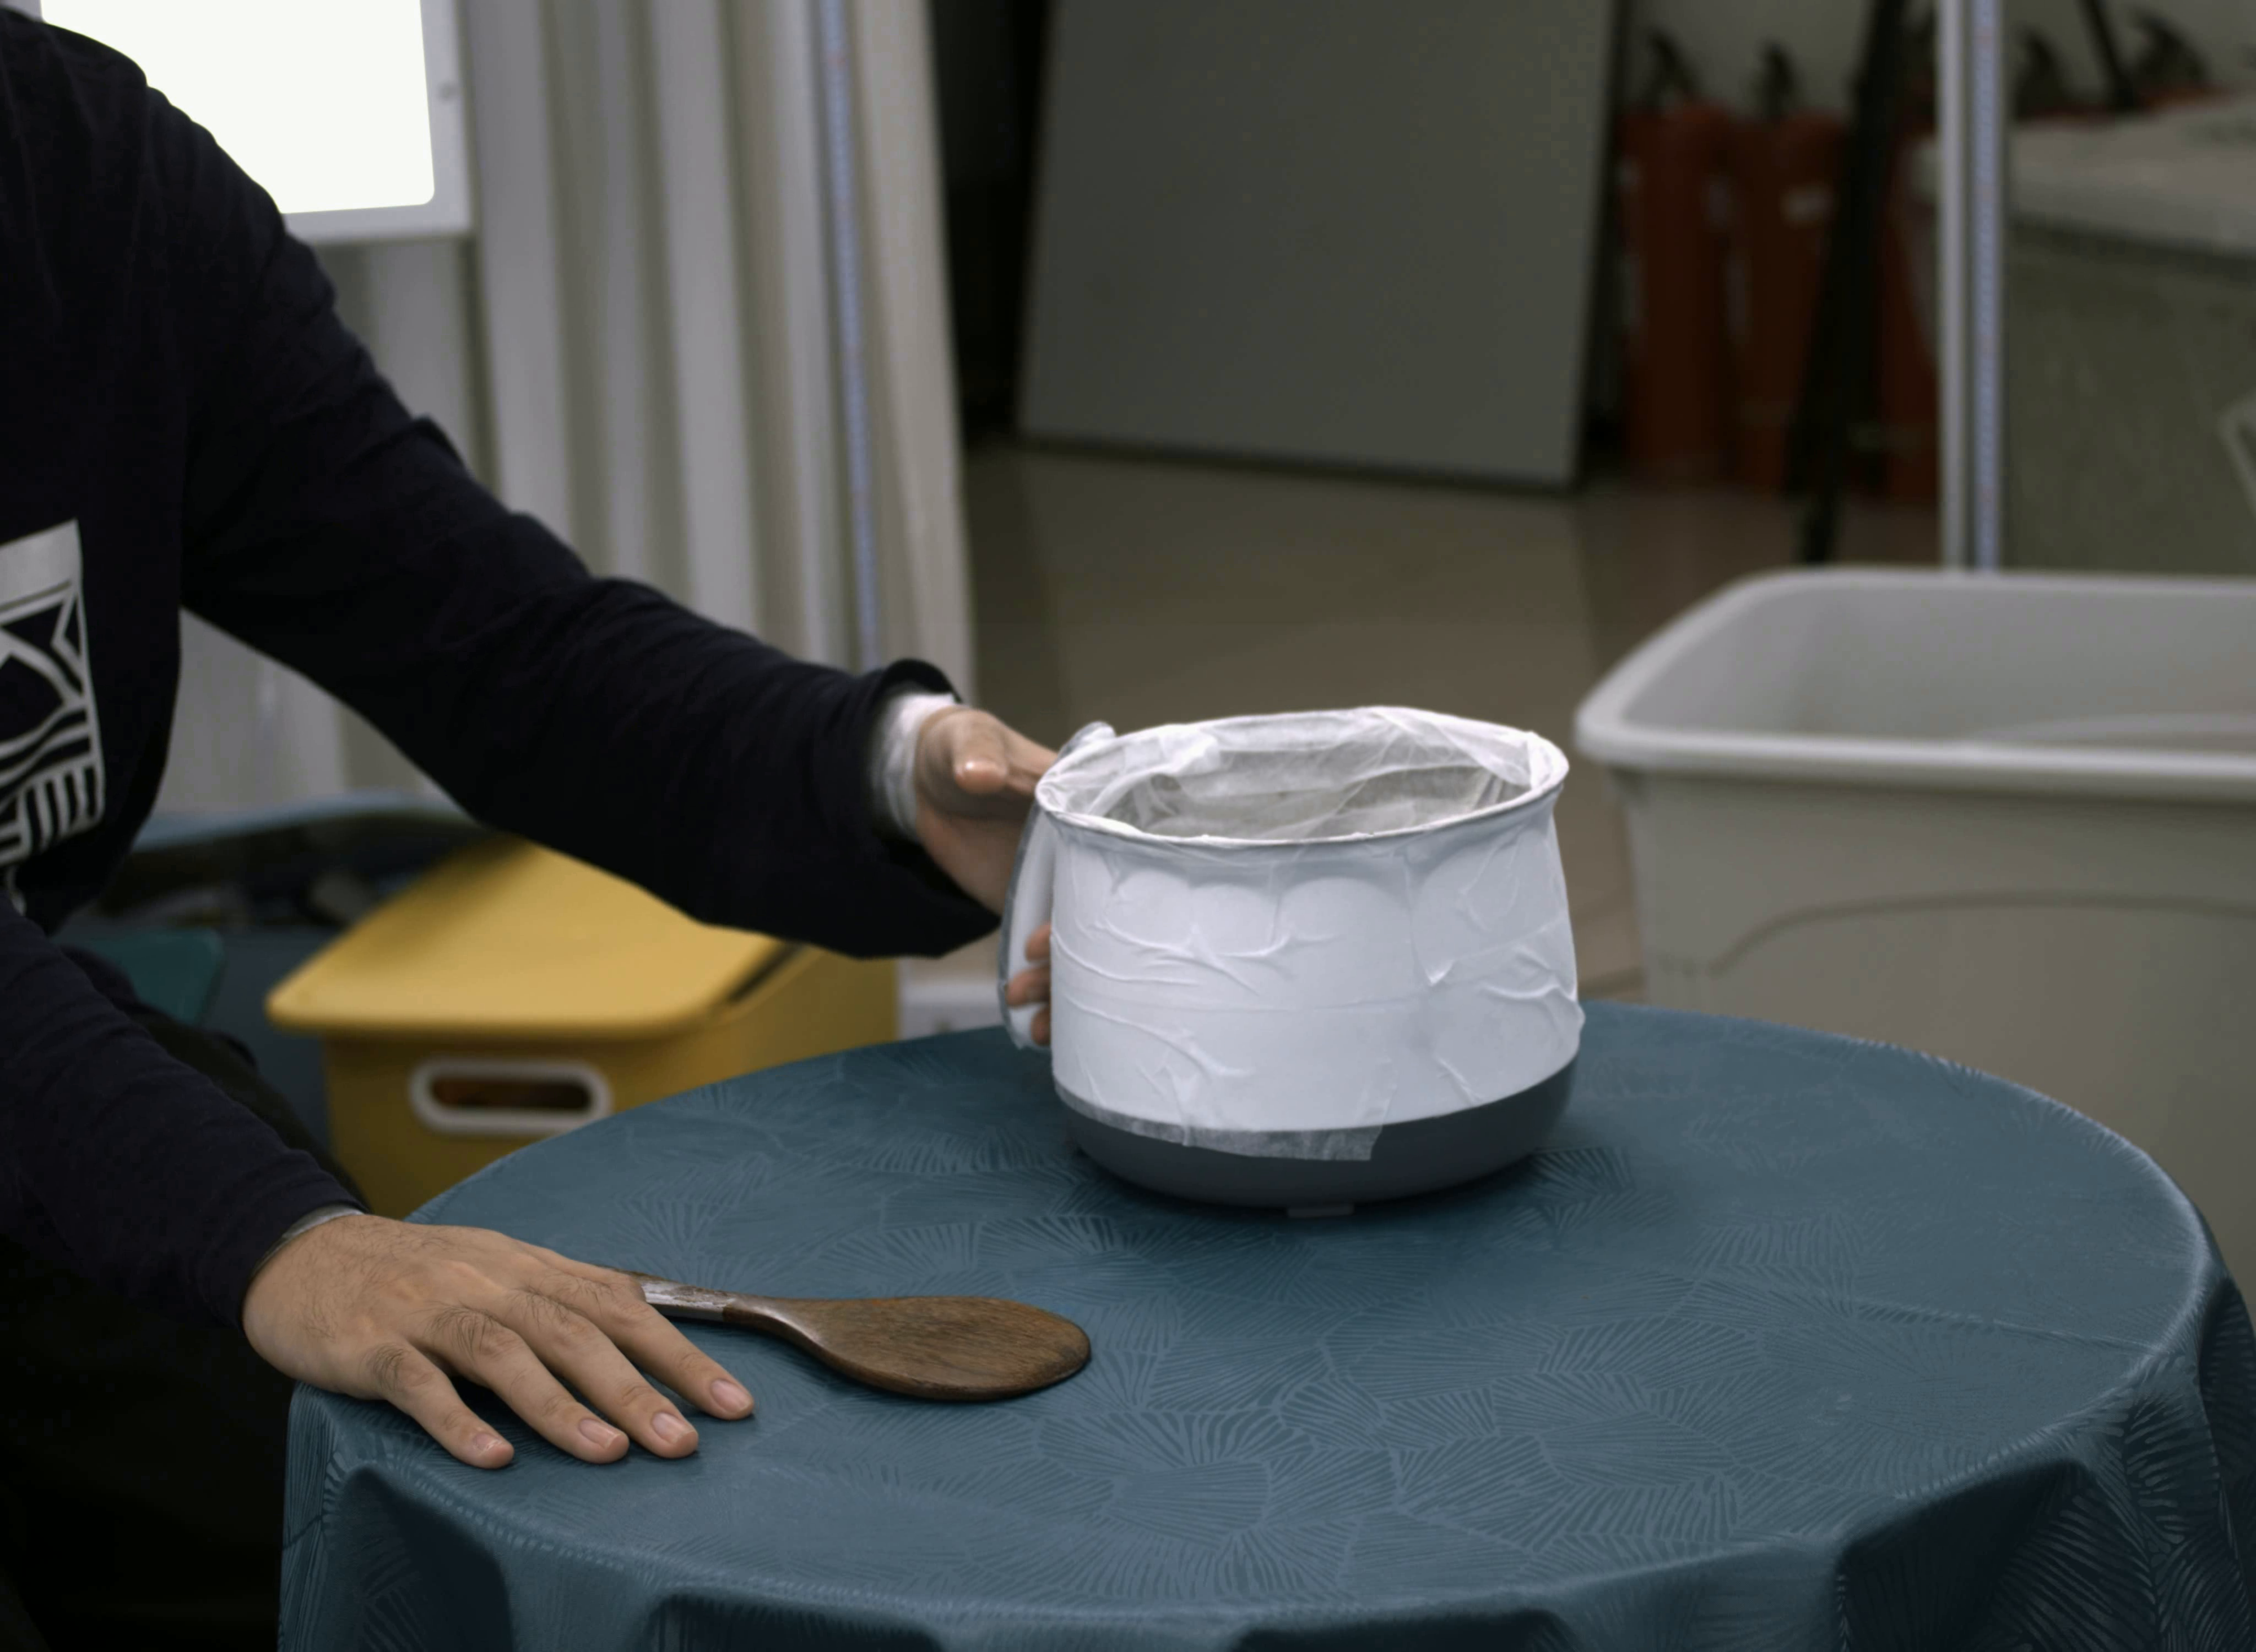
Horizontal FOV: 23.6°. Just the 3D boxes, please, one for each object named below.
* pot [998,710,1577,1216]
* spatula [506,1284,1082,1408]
[{"bbox_3d":[0.042,0.039,1.803,0.175,0.138,0.236,-12,17,-43],"label":"pot"},{"bbox_3d":[-0.106,0.155,1.660,0.217,0.009,0.070,5,15,36],"label":"spatula"}]
